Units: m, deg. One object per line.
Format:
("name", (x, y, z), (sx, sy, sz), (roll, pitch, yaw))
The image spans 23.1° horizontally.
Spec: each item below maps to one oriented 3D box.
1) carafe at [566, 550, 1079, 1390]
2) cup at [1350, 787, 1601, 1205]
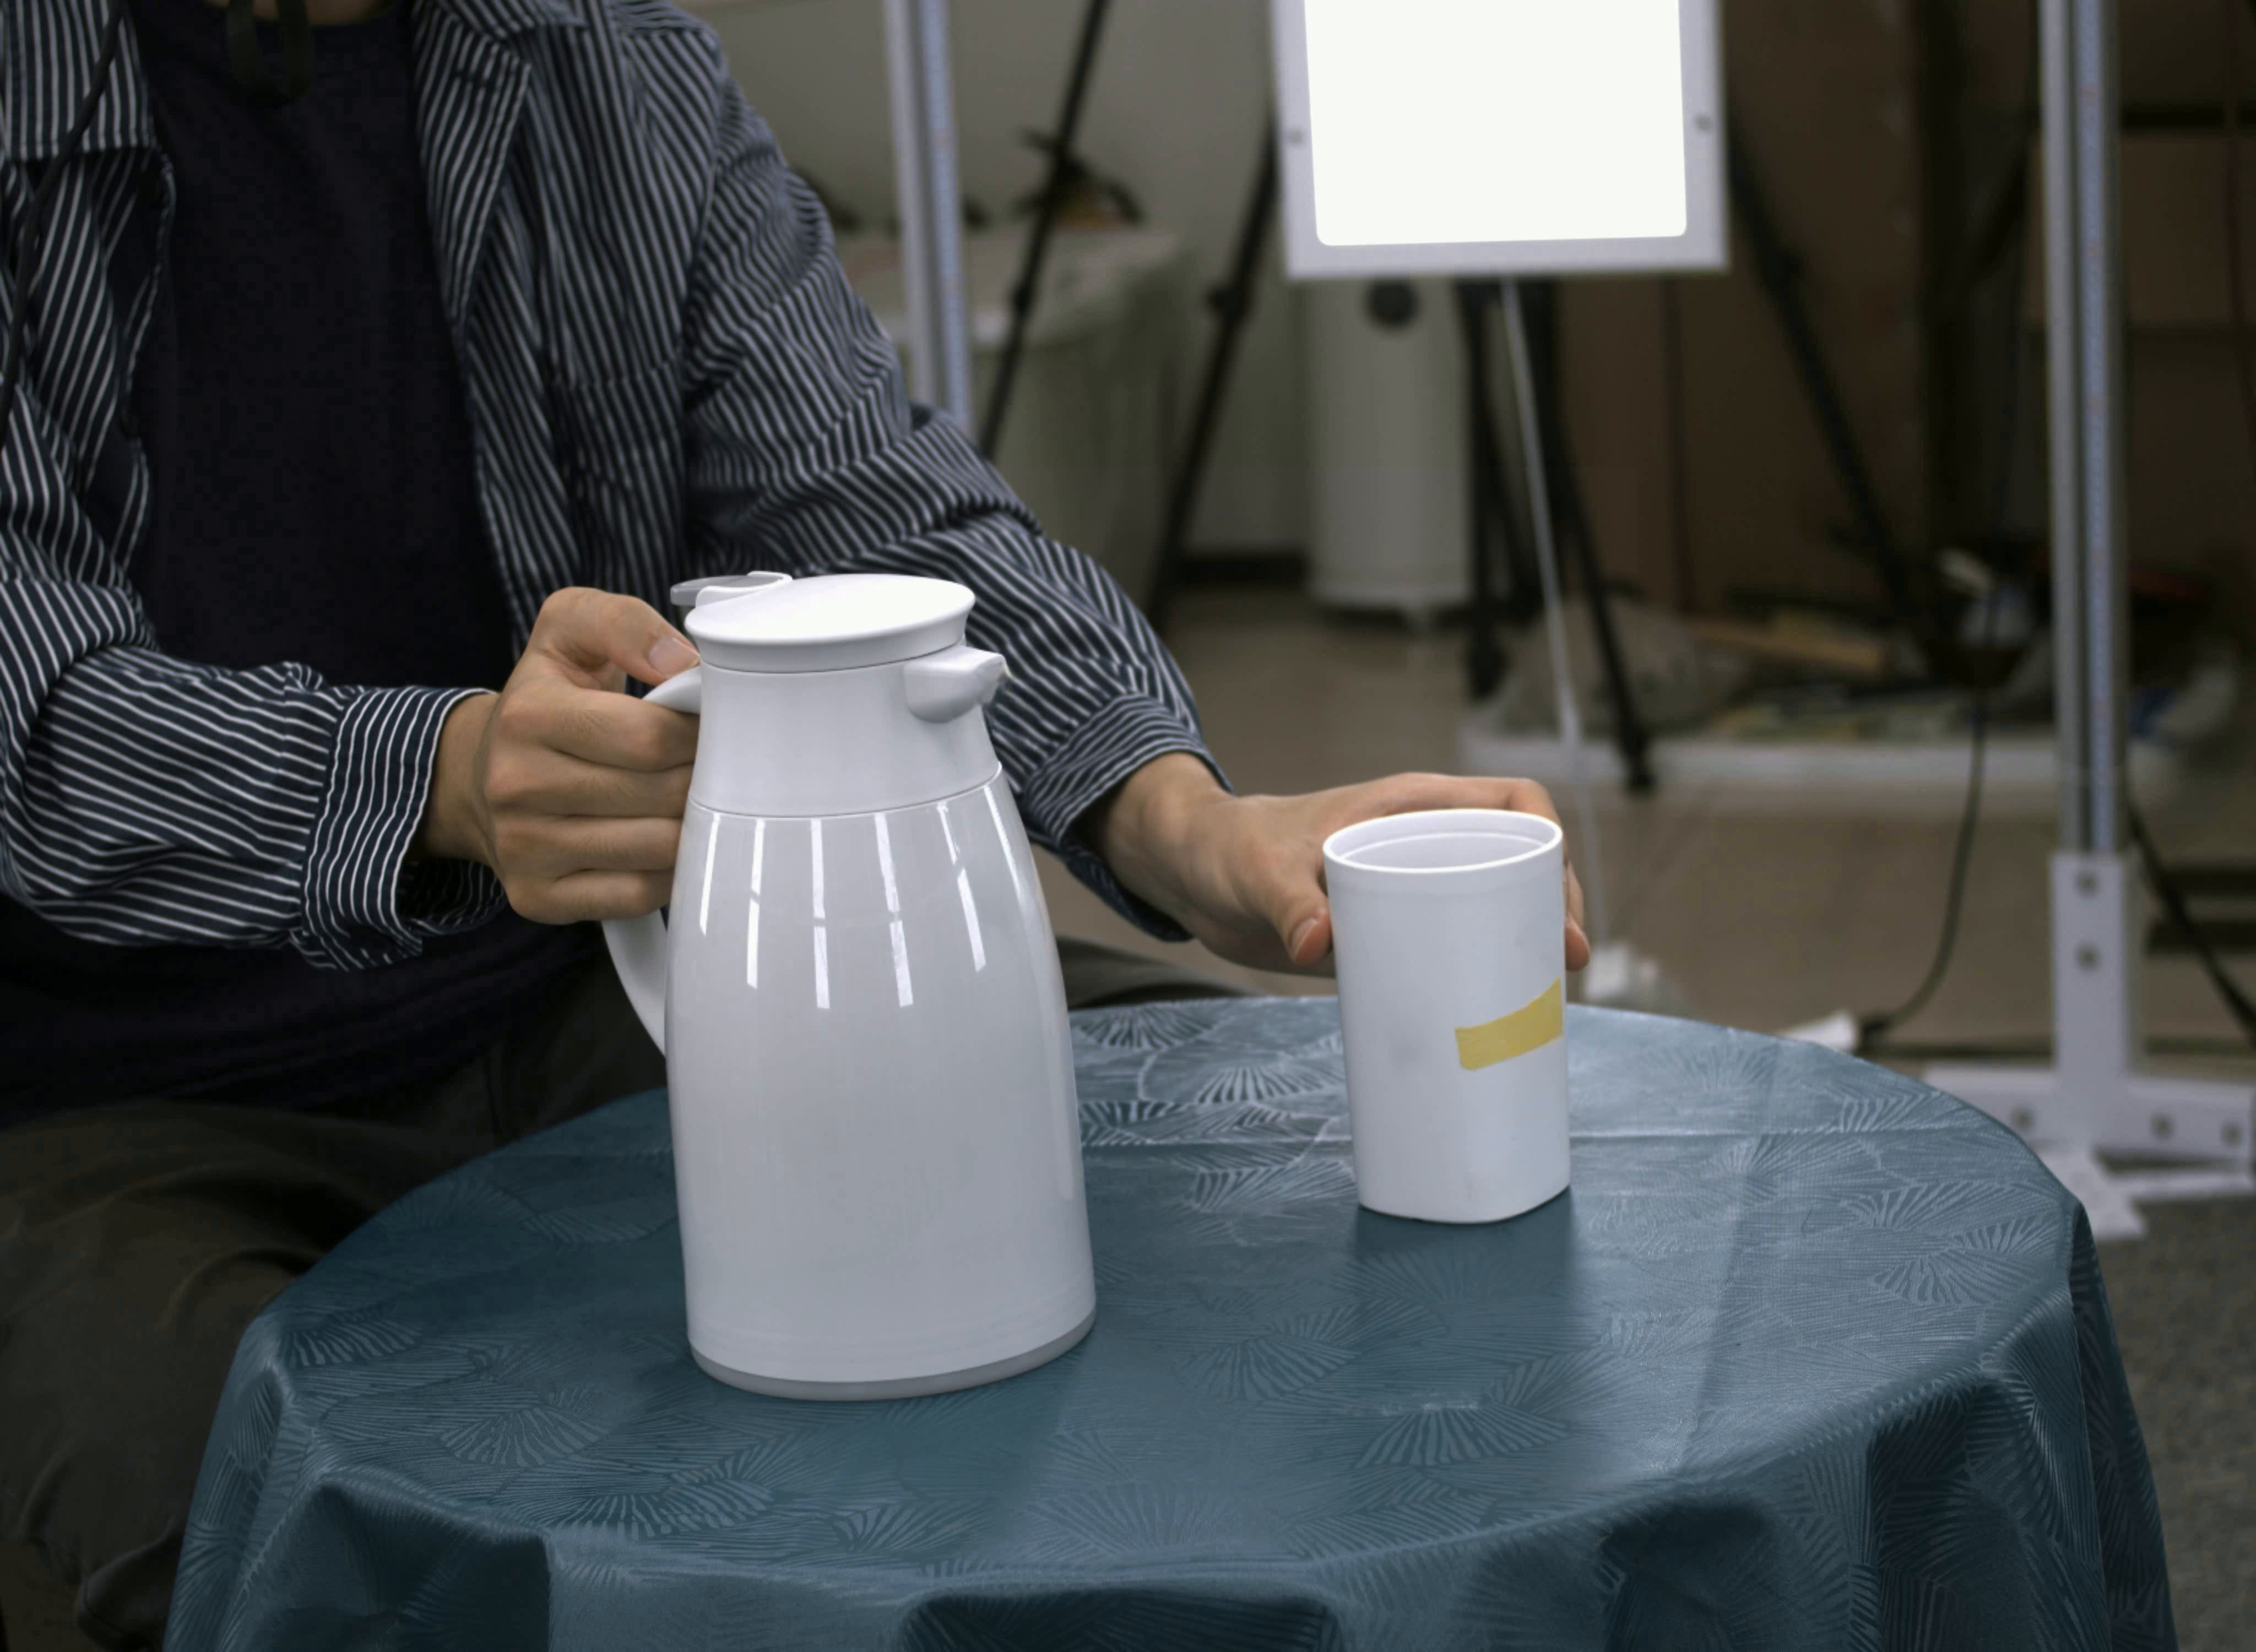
("carafe", (-0.104, 0.037, 1.752), (0.171, 0.249, 0.129), (6, 19, 30))
("cup", (0.121, 0.057, 1.852), (0.081, 0.126, 0.081), (-6, 15, 0))
